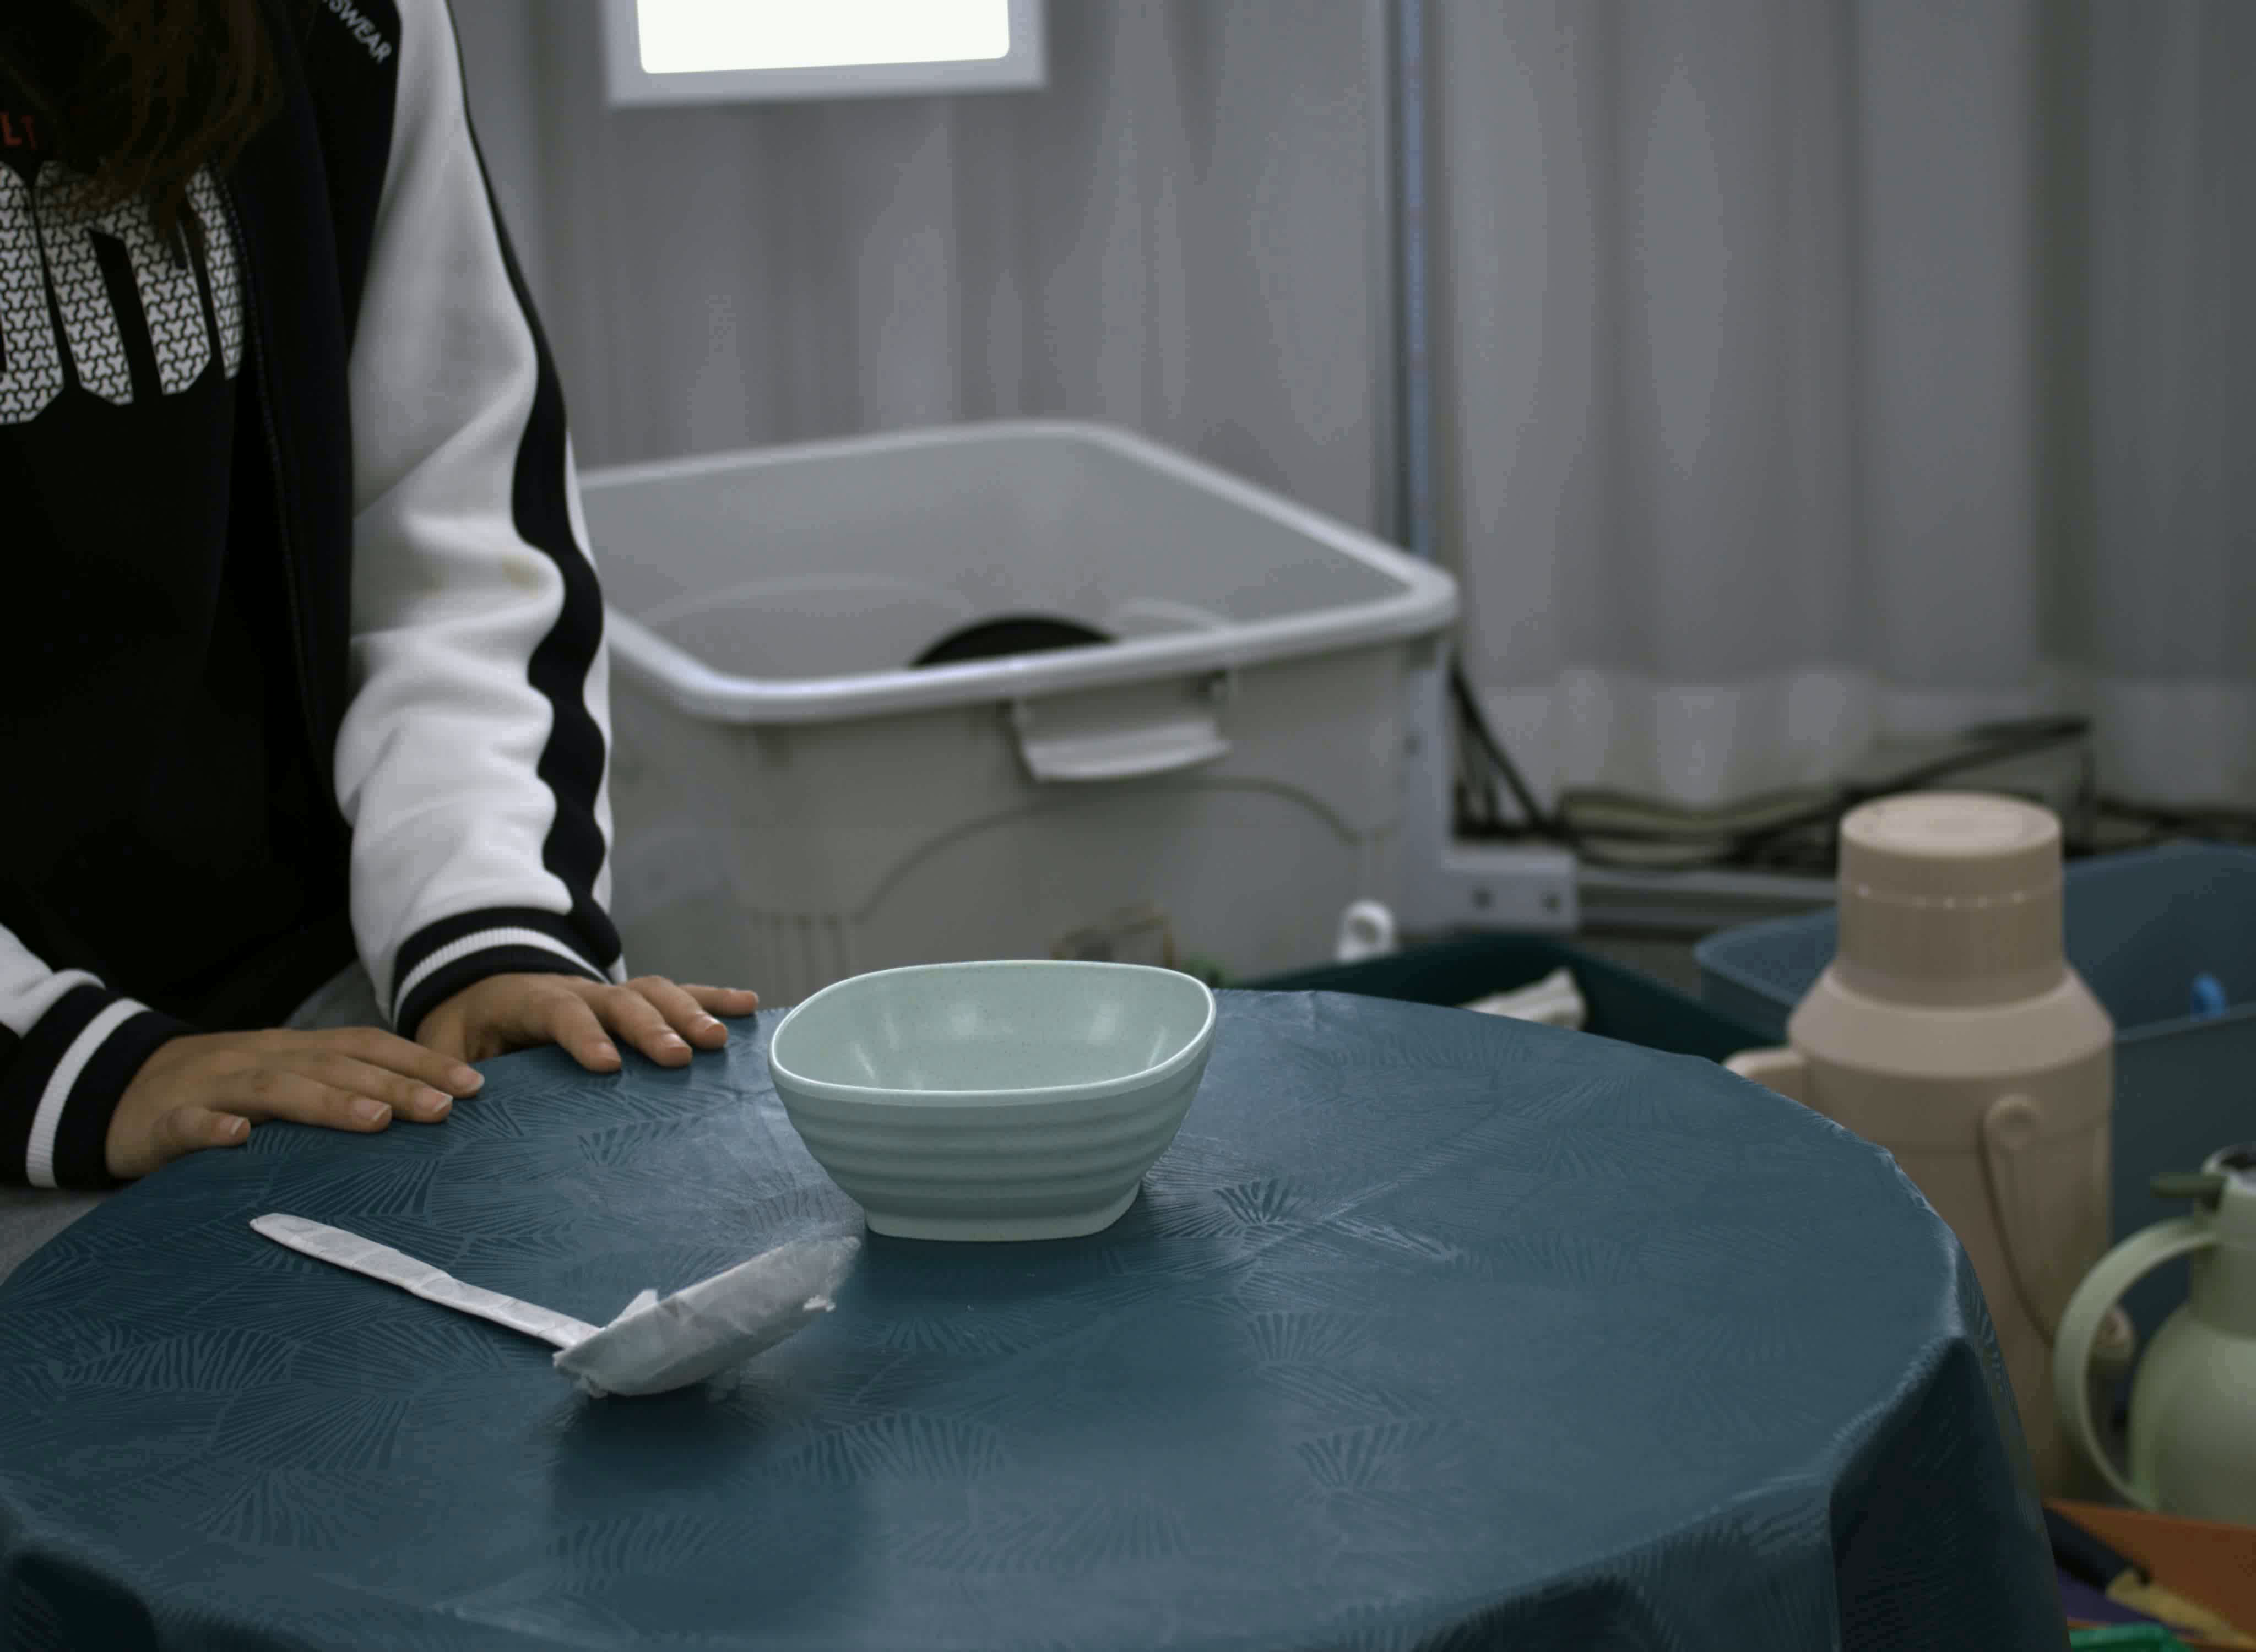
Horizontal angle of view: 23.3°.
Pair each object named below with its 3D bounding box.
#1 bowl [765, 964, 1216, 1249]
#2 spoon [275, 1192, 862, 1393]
[{"bbox_3d":[-0.041,0.091,1.708,0.151,0.058,0.152,-2,15,0],"label":"bowl"},{"bbox_3d":[-0.177,0.118,1.624,0.100,0.059,0.279,-8,15,-37],"label":"spoon"}]
